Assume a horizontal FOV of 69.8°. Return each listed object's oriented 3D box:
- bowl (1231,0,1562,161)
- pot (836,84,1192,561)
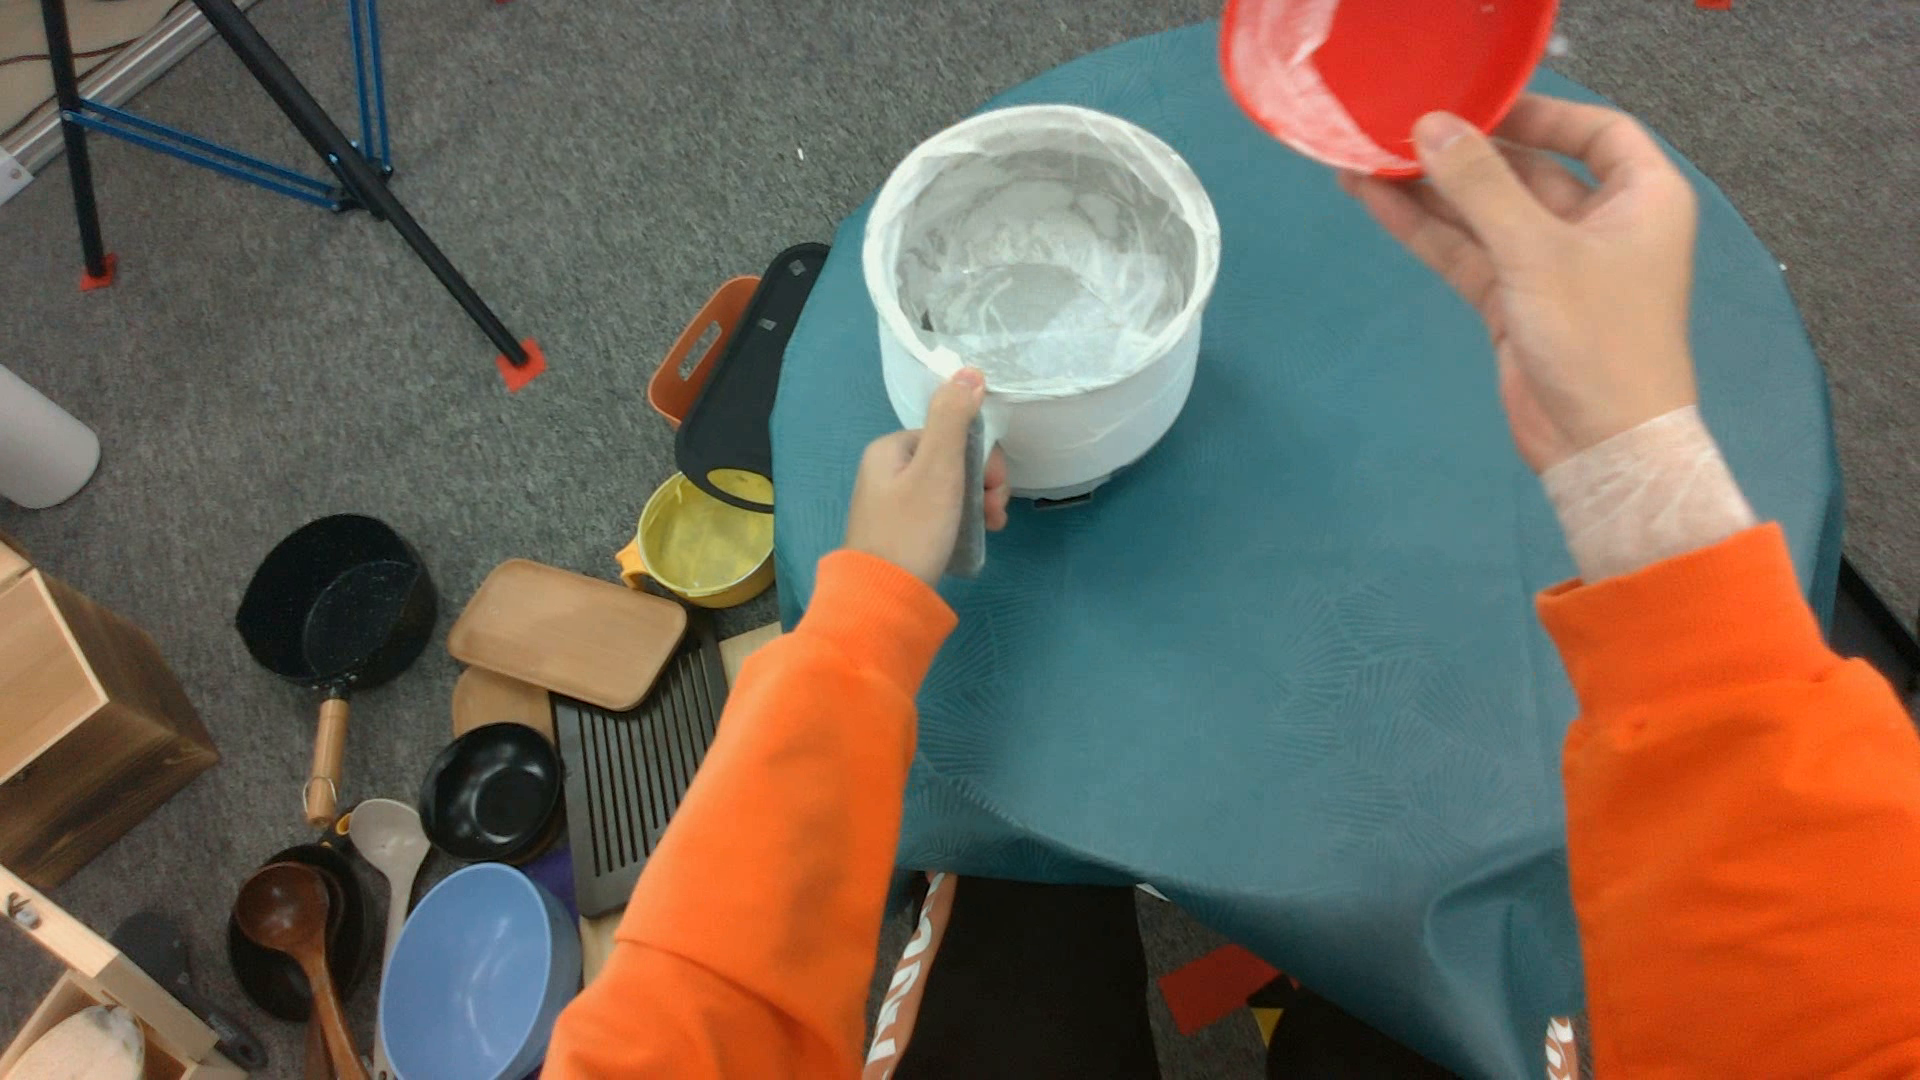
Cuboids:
[{"bbox_3d":[0.164,-0.195,0.518,0.119,0.051,0.119,0,89,18],"label":"bowl"},{"bbox_3d":[0.021,-0.108,0.731,0.178,0.136,0.234,16,68,10],"label":"pot"}]
